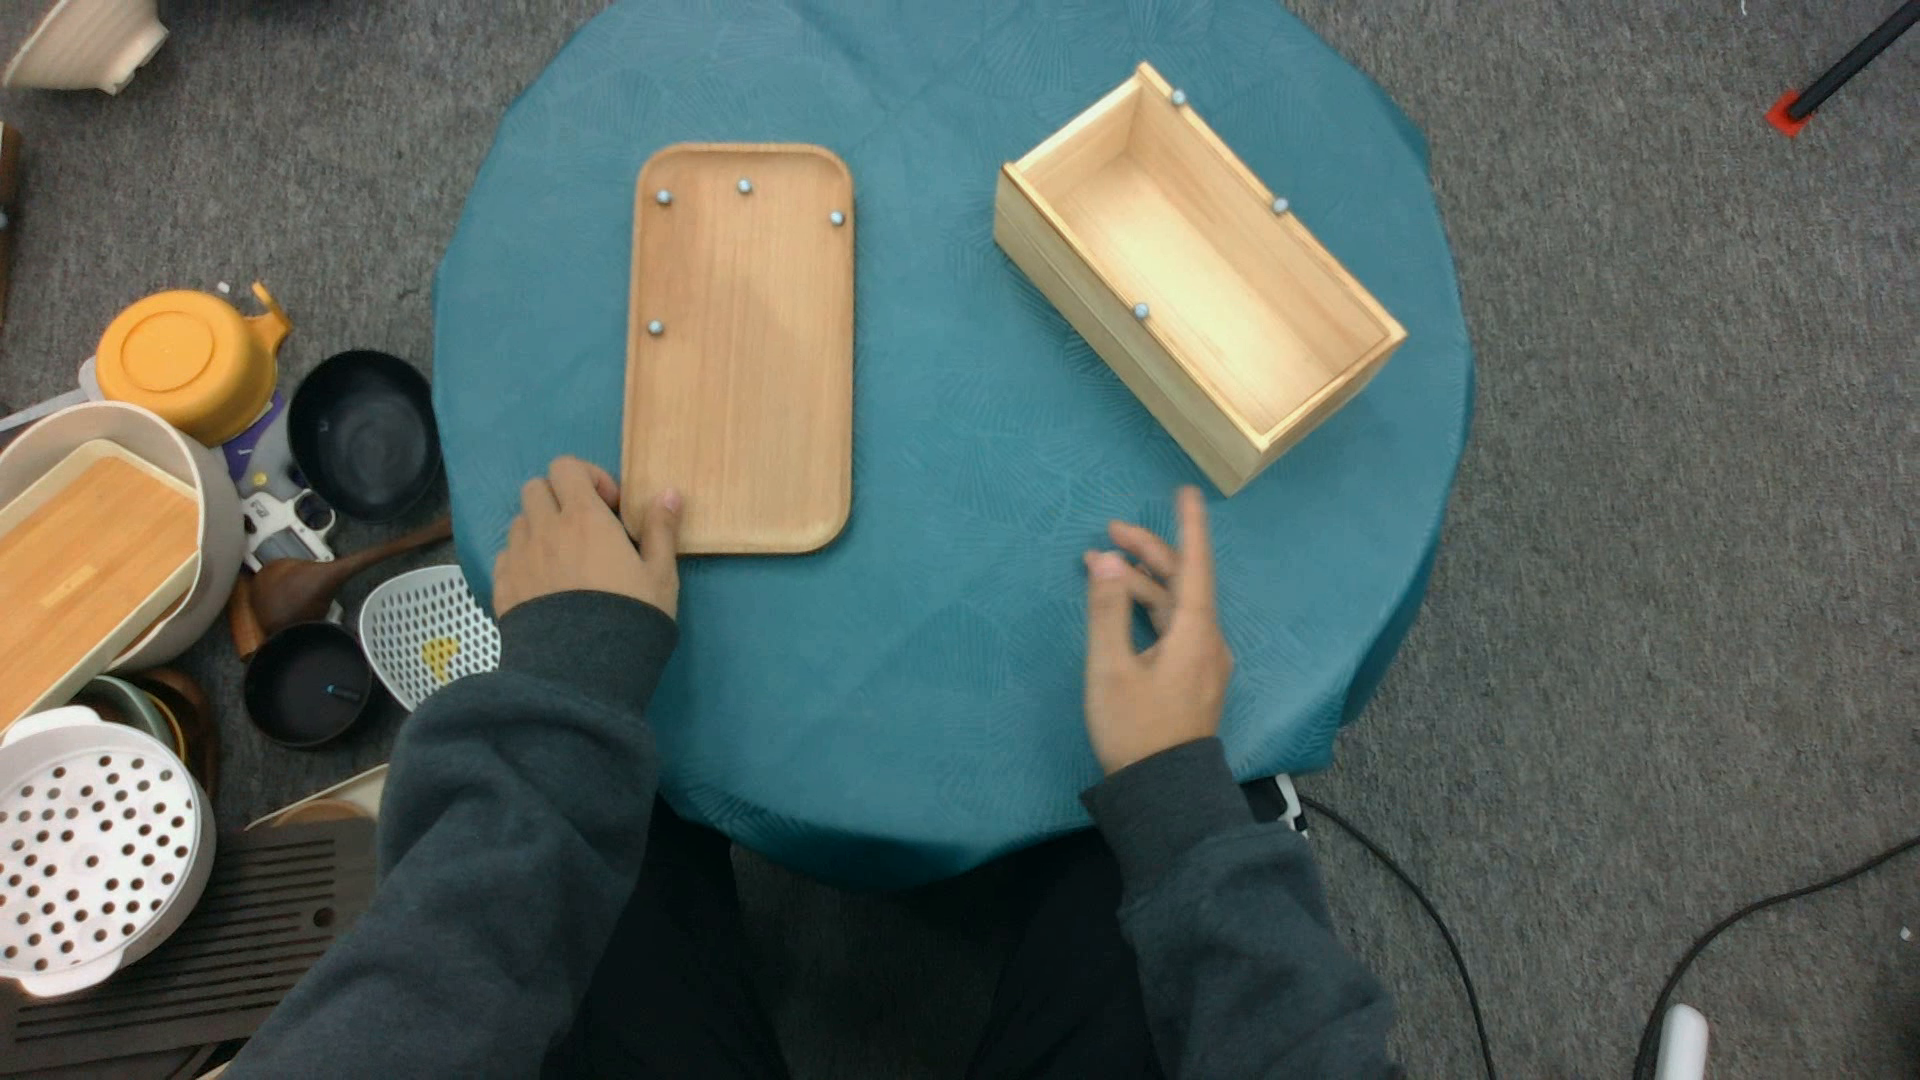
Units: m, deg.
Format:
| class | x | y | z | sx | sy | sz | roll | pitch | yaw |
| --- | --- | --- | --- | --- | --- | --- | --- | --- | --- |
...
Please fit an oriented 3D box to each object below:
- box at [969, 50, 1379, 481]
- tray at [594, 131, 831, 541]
| class | x | y | z | sx | sy | sz | roll | pitch | yaw |
| --- | --- | --- | --- | --- | --- | --- | --- | --- | --- |
| box | 0.114 | -0.153 | 0.772 | 0.108 | 0.080 | 0.211 | -39 | 79 | -12 |
| tray | -0.137 | -0.119 | 0.783 | 0.130 | 0.023 | 0.251 | -1 | 74 | 0 |
